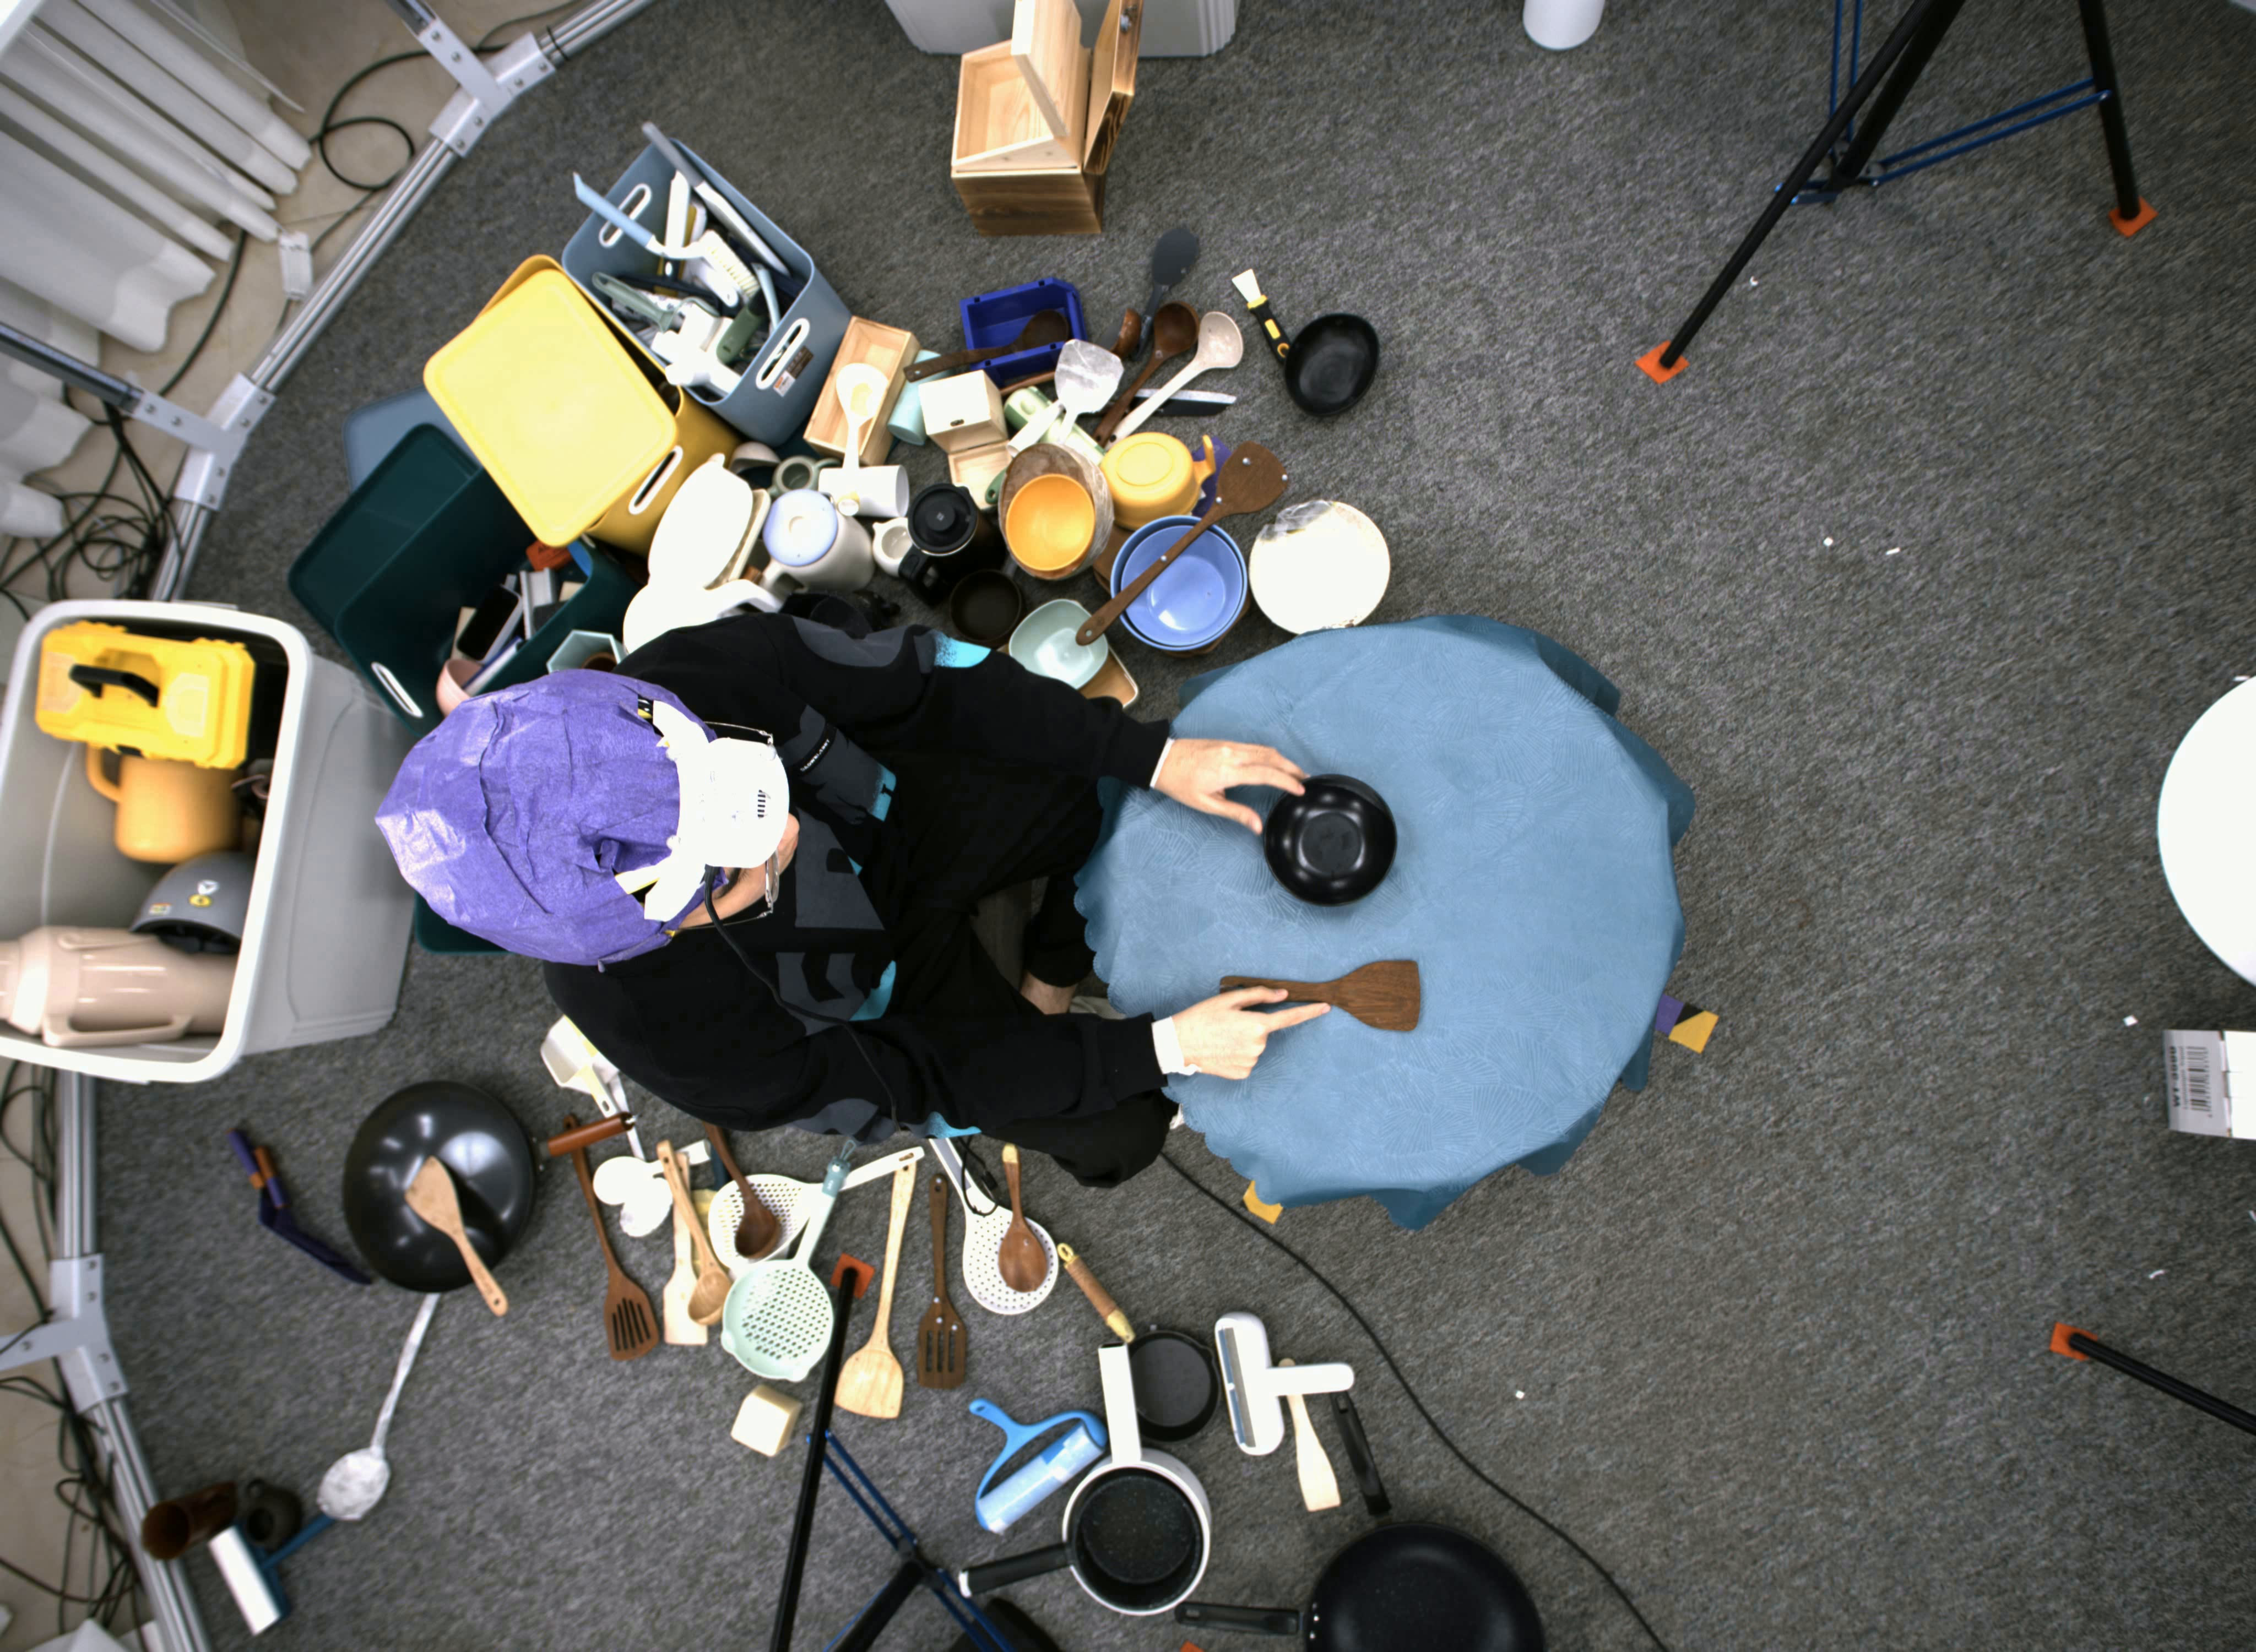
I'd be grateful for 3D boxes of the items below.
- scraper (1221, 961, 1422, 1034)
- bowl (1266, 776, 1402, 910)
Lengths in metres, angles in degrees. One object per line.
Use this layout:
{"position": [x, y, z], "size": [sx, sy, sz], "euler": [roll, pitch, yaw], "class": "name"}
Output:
{"position": [0.204, 0.177, 1.466], "size": [0.212, 0.011, 0.075], "euler": [1, 85, 11], "class": "scraper"}
{"position": [0.216, 0.018, 1.453], "size": [0.140, 0.050, 0.139], "euler": [0, 89, 9], "class": "bowl"}
